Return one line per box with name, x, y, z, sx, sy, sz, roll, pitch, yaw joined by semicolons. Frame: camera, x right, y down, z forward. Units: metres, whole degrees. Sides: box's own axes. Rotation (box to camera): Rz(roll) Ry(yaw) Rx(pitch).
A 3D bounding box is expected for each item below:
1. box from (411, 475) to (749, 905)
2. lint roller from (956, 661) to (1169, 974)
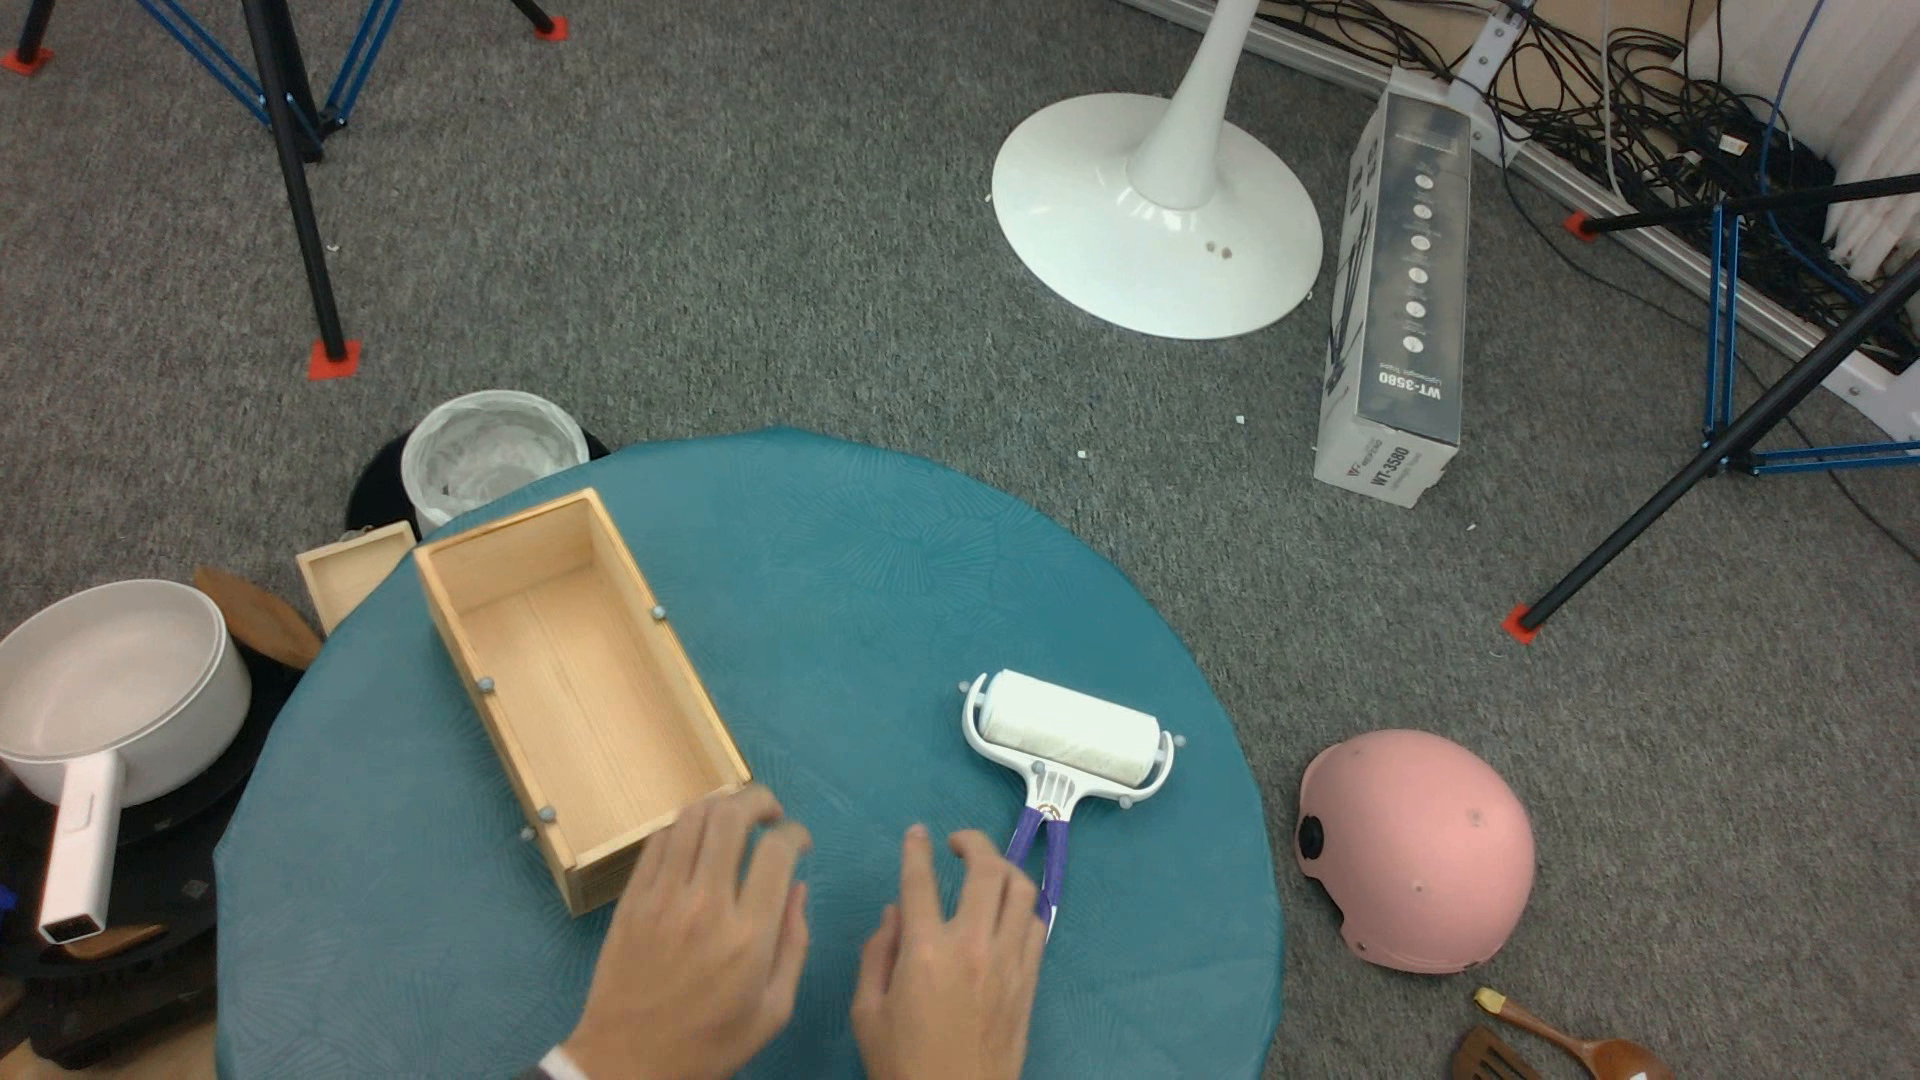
box;-0.218;0.081;0.785;0.108;0.080;0.212;-23;66;-25
lint roller;0.046;0.162;0.811;0.133;0.050;0.182;20;54;-1
